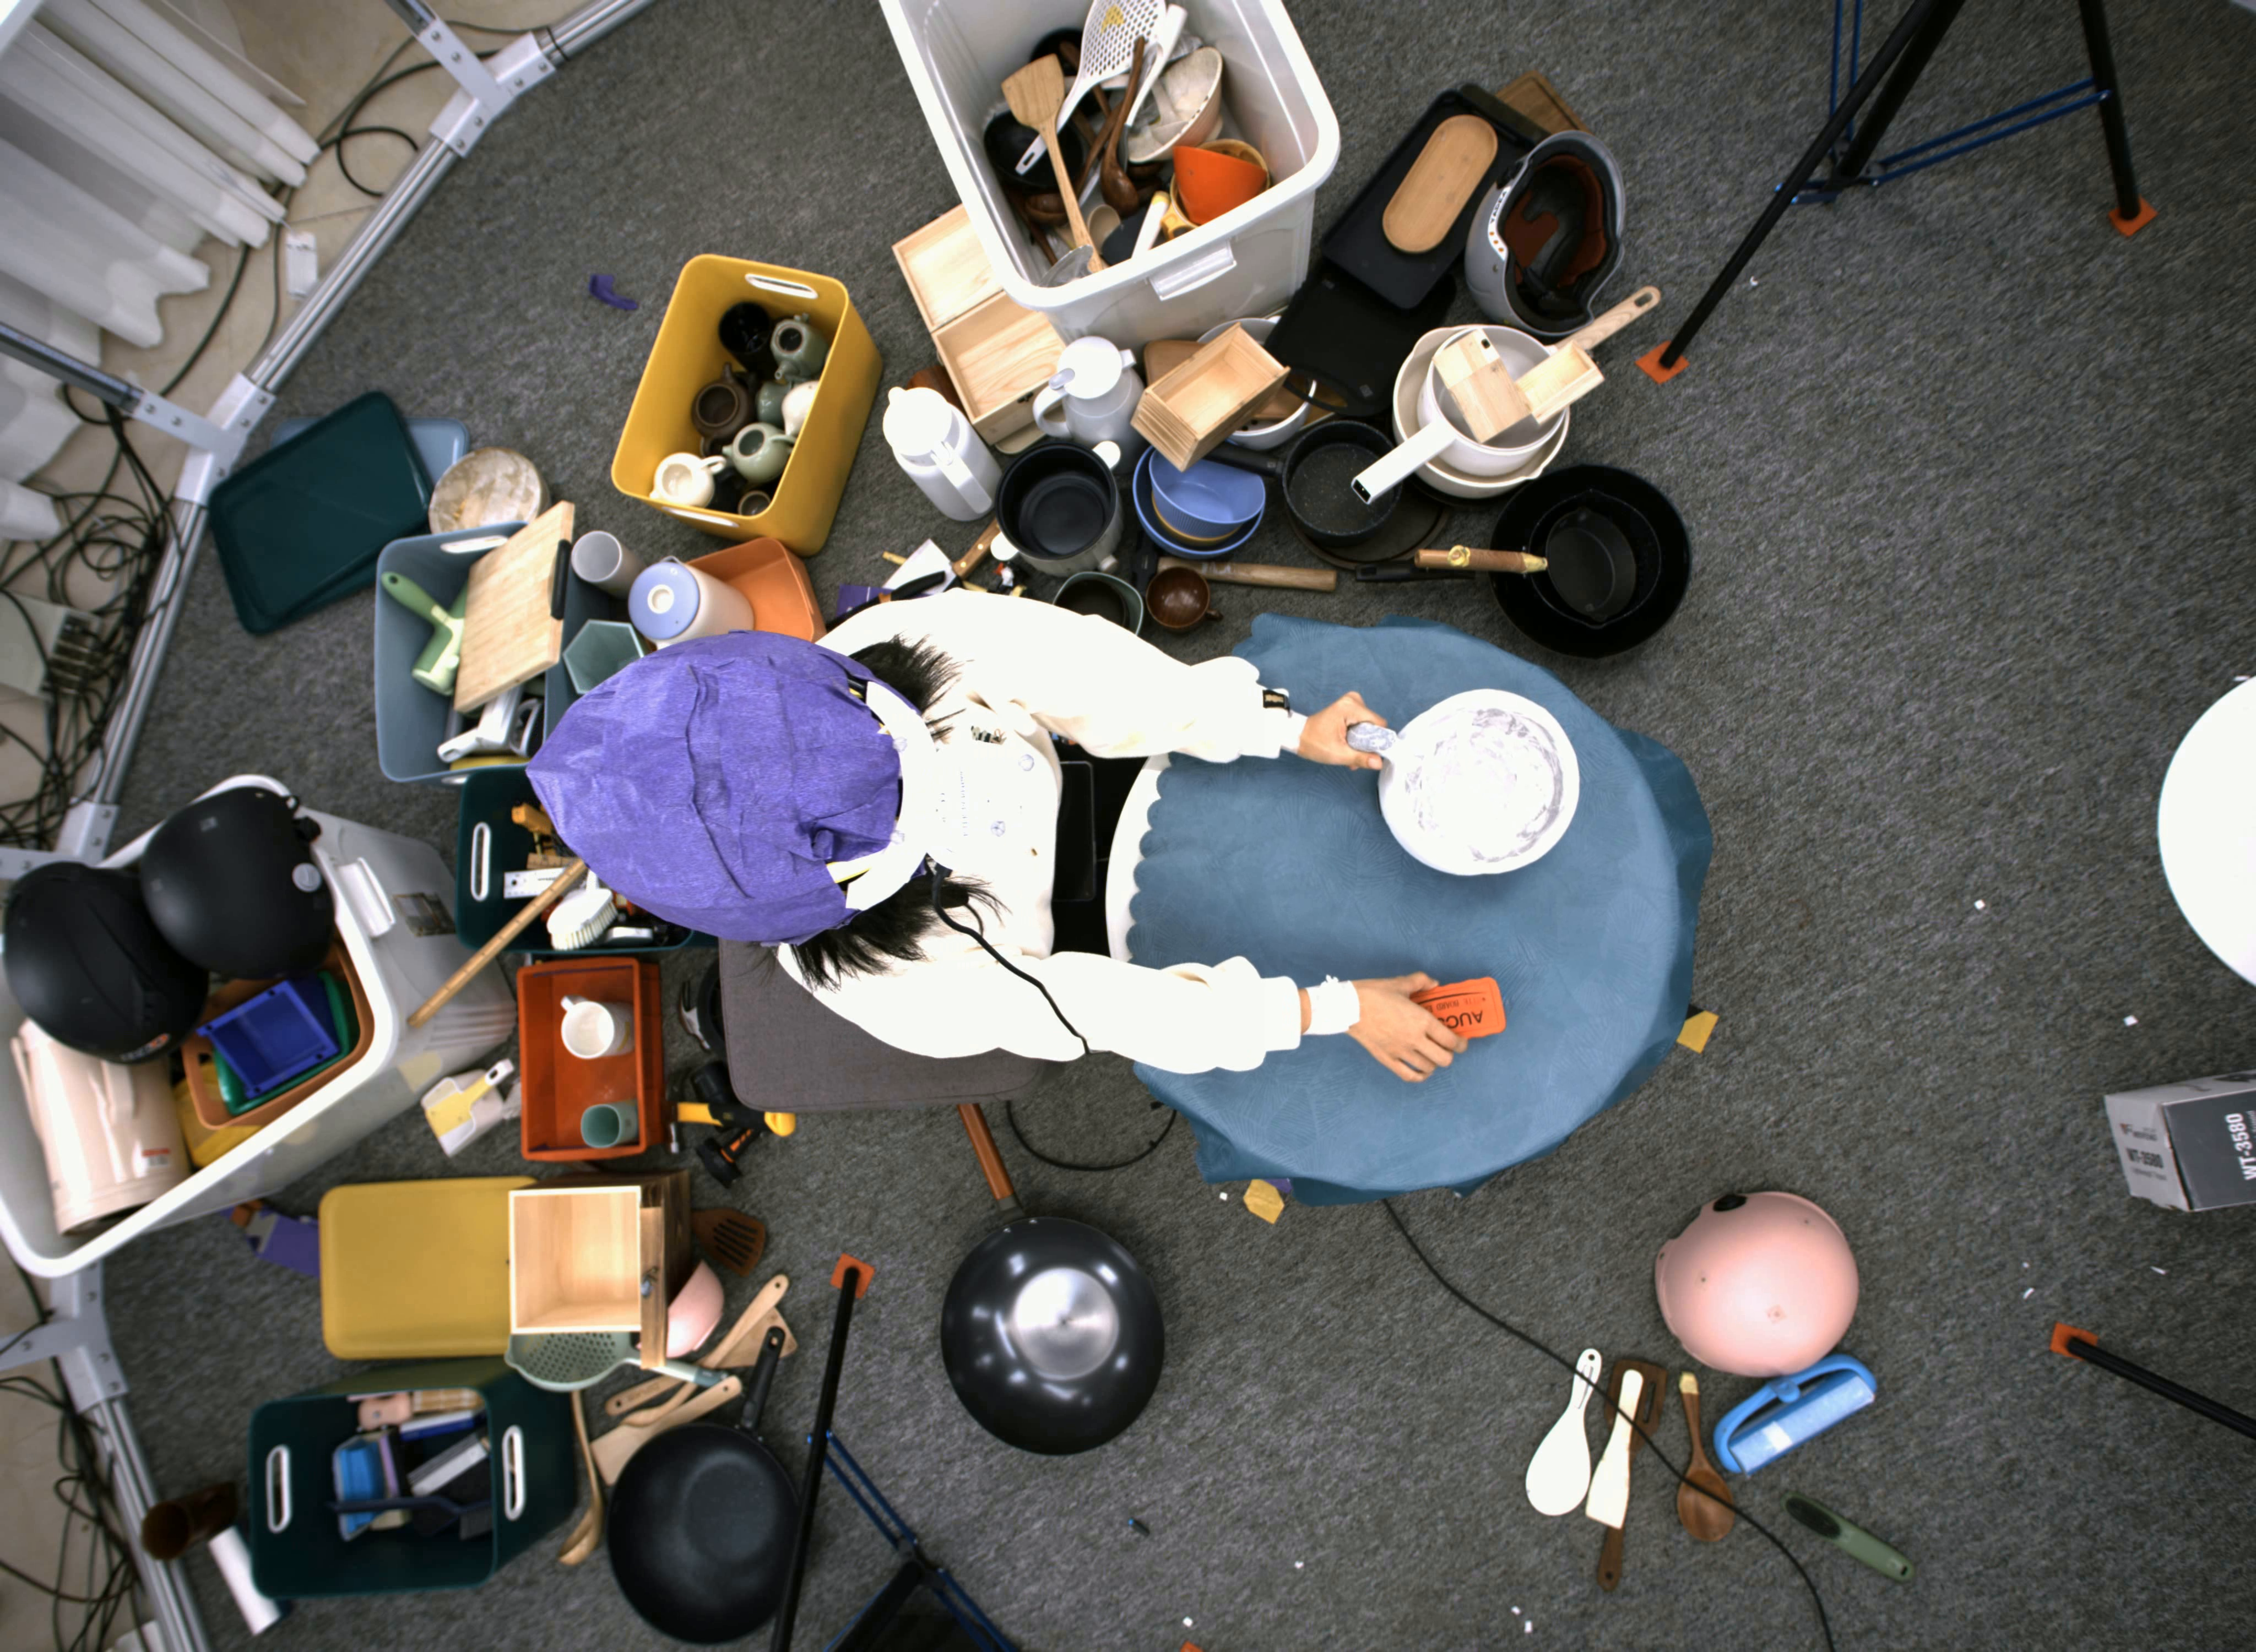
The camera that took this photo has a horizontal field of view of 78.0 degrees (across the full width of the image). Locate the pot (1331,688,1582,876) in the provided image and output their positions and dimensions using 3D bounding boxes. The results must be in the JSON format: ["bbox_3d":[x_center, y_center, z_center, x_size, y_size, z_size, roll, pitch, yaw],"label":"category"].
[{"bbox_3d":[0.319,-0.051,1.373,0.234,0.137,0.178,21,88,1],"label":"pot"}]

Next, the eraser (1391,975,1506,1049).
[{"bbox_3d":[0.326,0.188,1.405,0.109,0.023,0.058,-15,76,20],"label":"eraser"}]
